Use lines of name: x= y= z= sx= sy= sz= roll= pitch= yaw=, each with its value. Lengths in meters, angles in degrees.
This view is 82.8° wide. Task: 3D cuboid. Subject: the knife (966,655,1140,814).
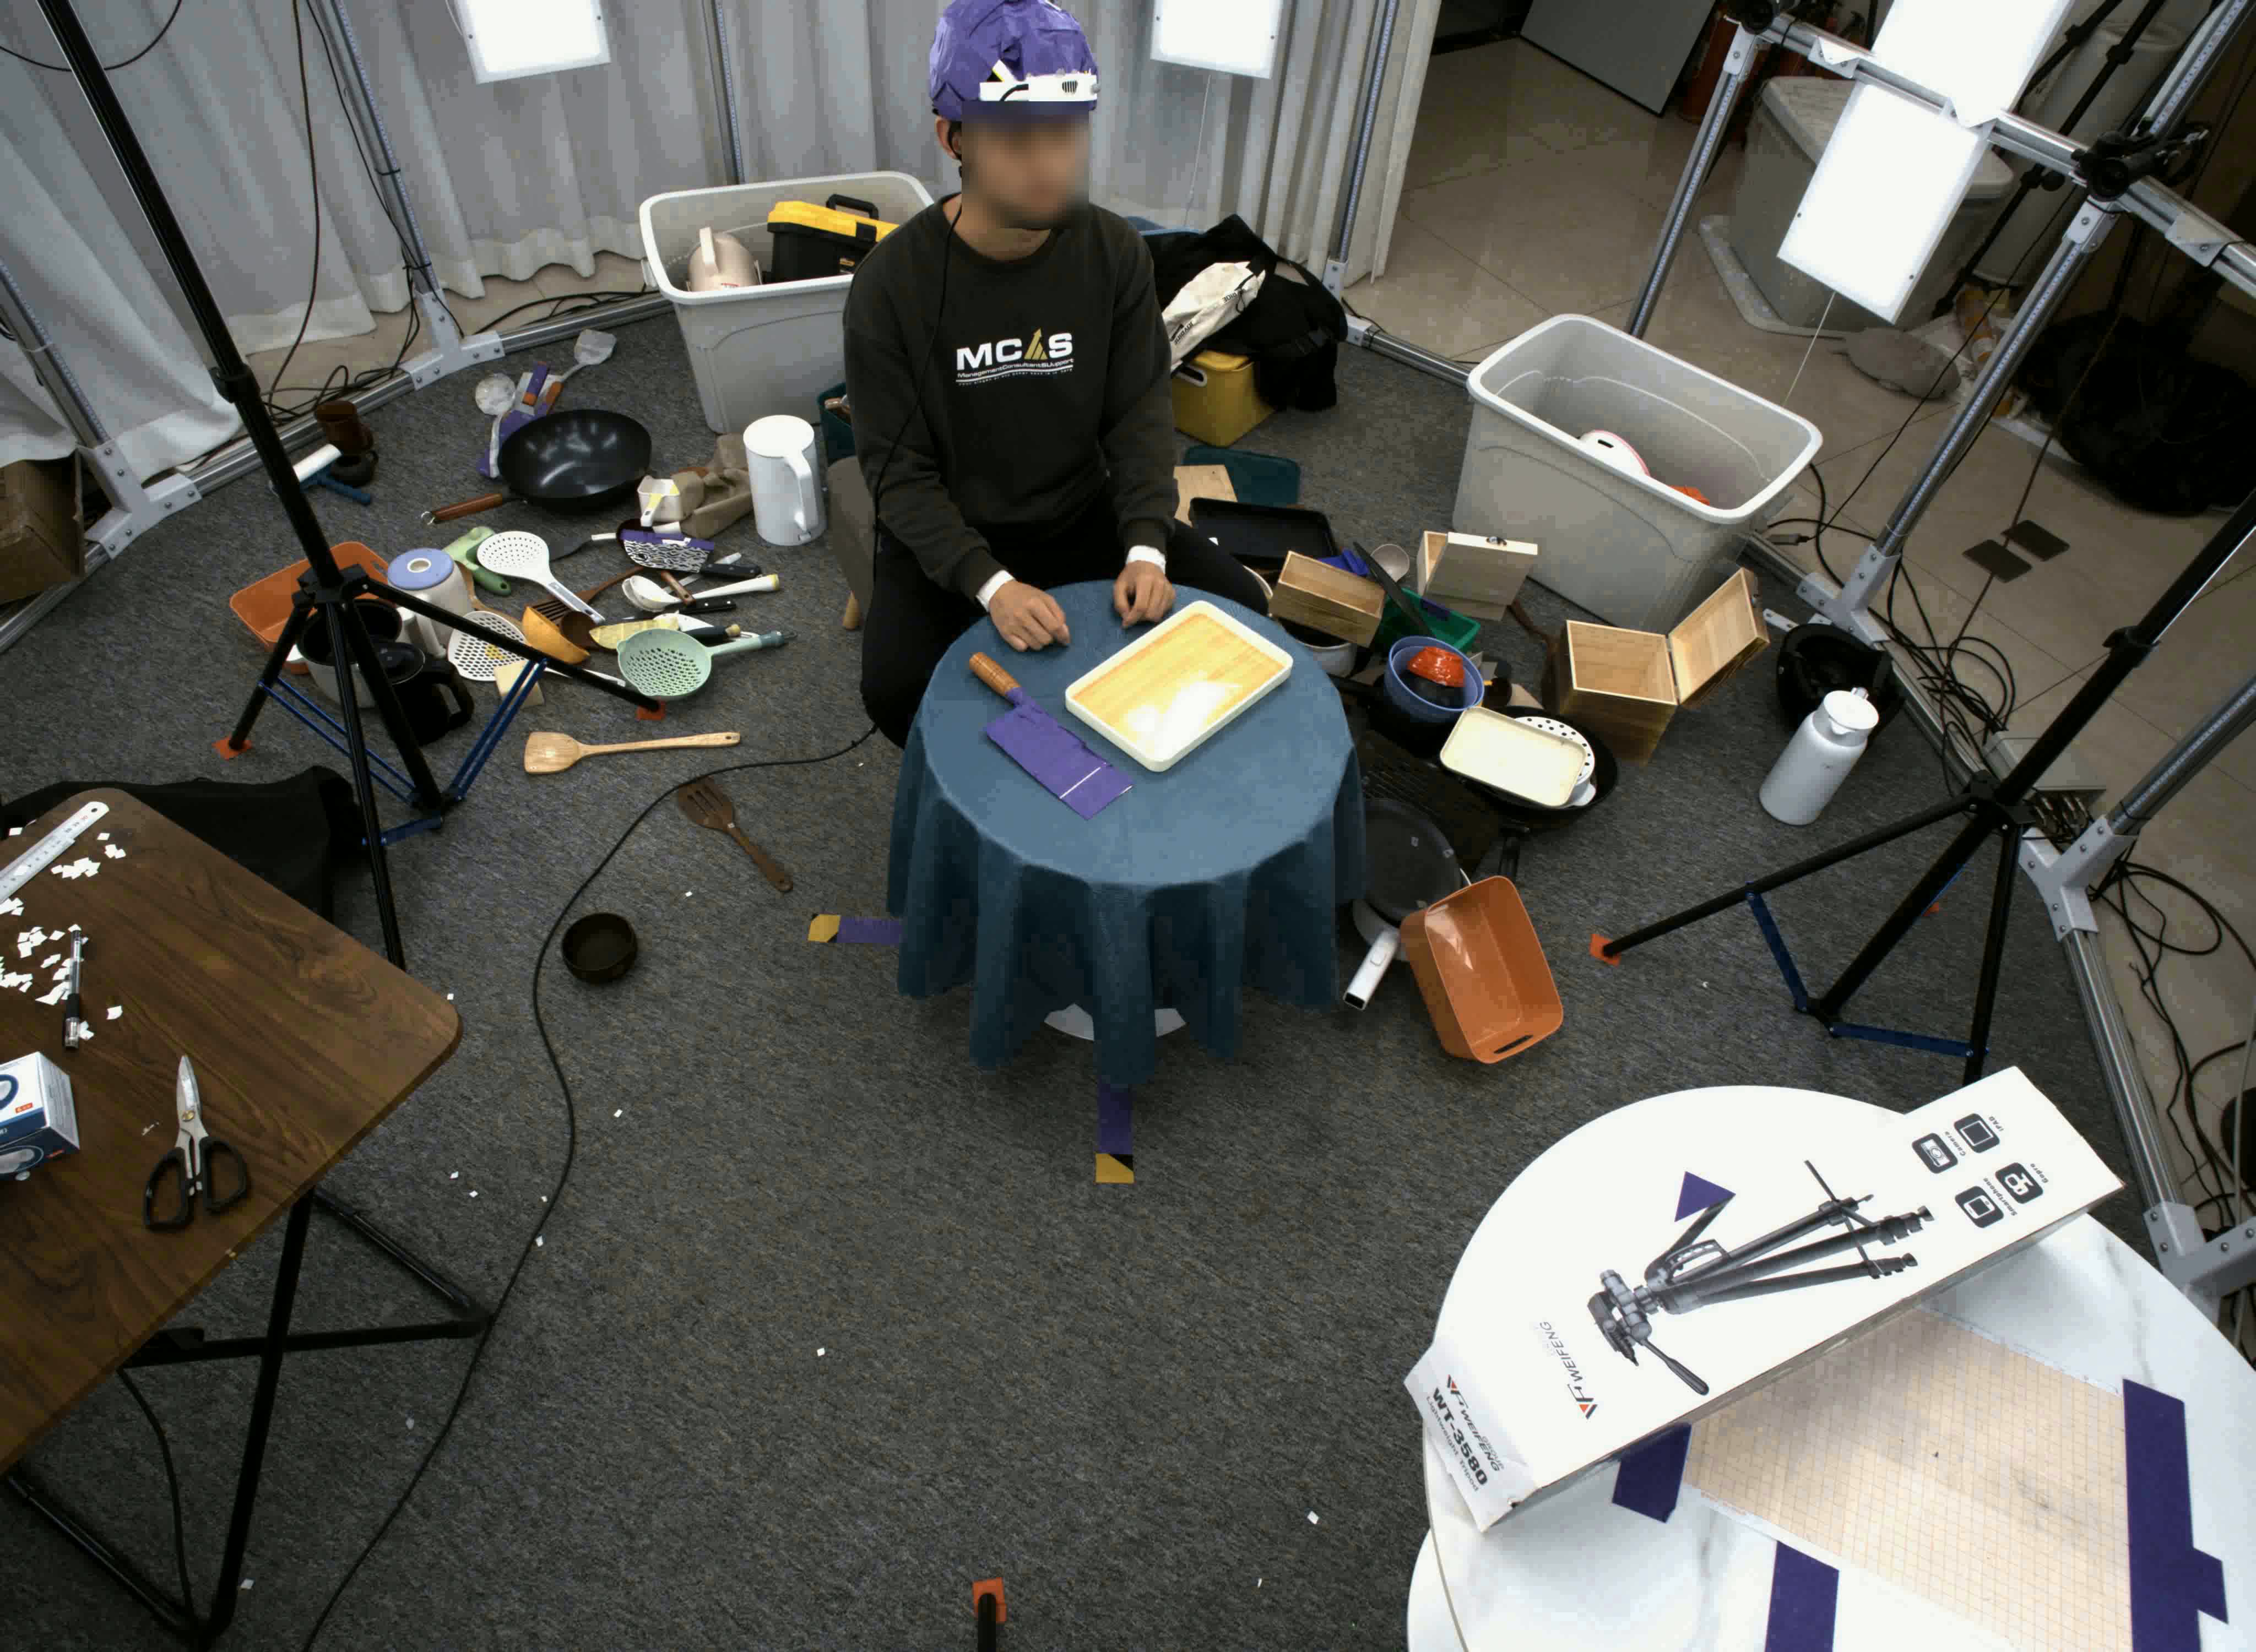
knife: x=-0.129 y=-0.129 z=1.752 sx=0.320 sy=0.031 sz=0.105 roll=38 pitch=56 yaw=25

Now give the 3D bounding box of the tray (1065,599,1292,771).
tray: x=0.075 y=-0.208 z=1.835 sx=0.194 sy=0.027 sz=0.303 roll=37 pitch=56 yaw=25
